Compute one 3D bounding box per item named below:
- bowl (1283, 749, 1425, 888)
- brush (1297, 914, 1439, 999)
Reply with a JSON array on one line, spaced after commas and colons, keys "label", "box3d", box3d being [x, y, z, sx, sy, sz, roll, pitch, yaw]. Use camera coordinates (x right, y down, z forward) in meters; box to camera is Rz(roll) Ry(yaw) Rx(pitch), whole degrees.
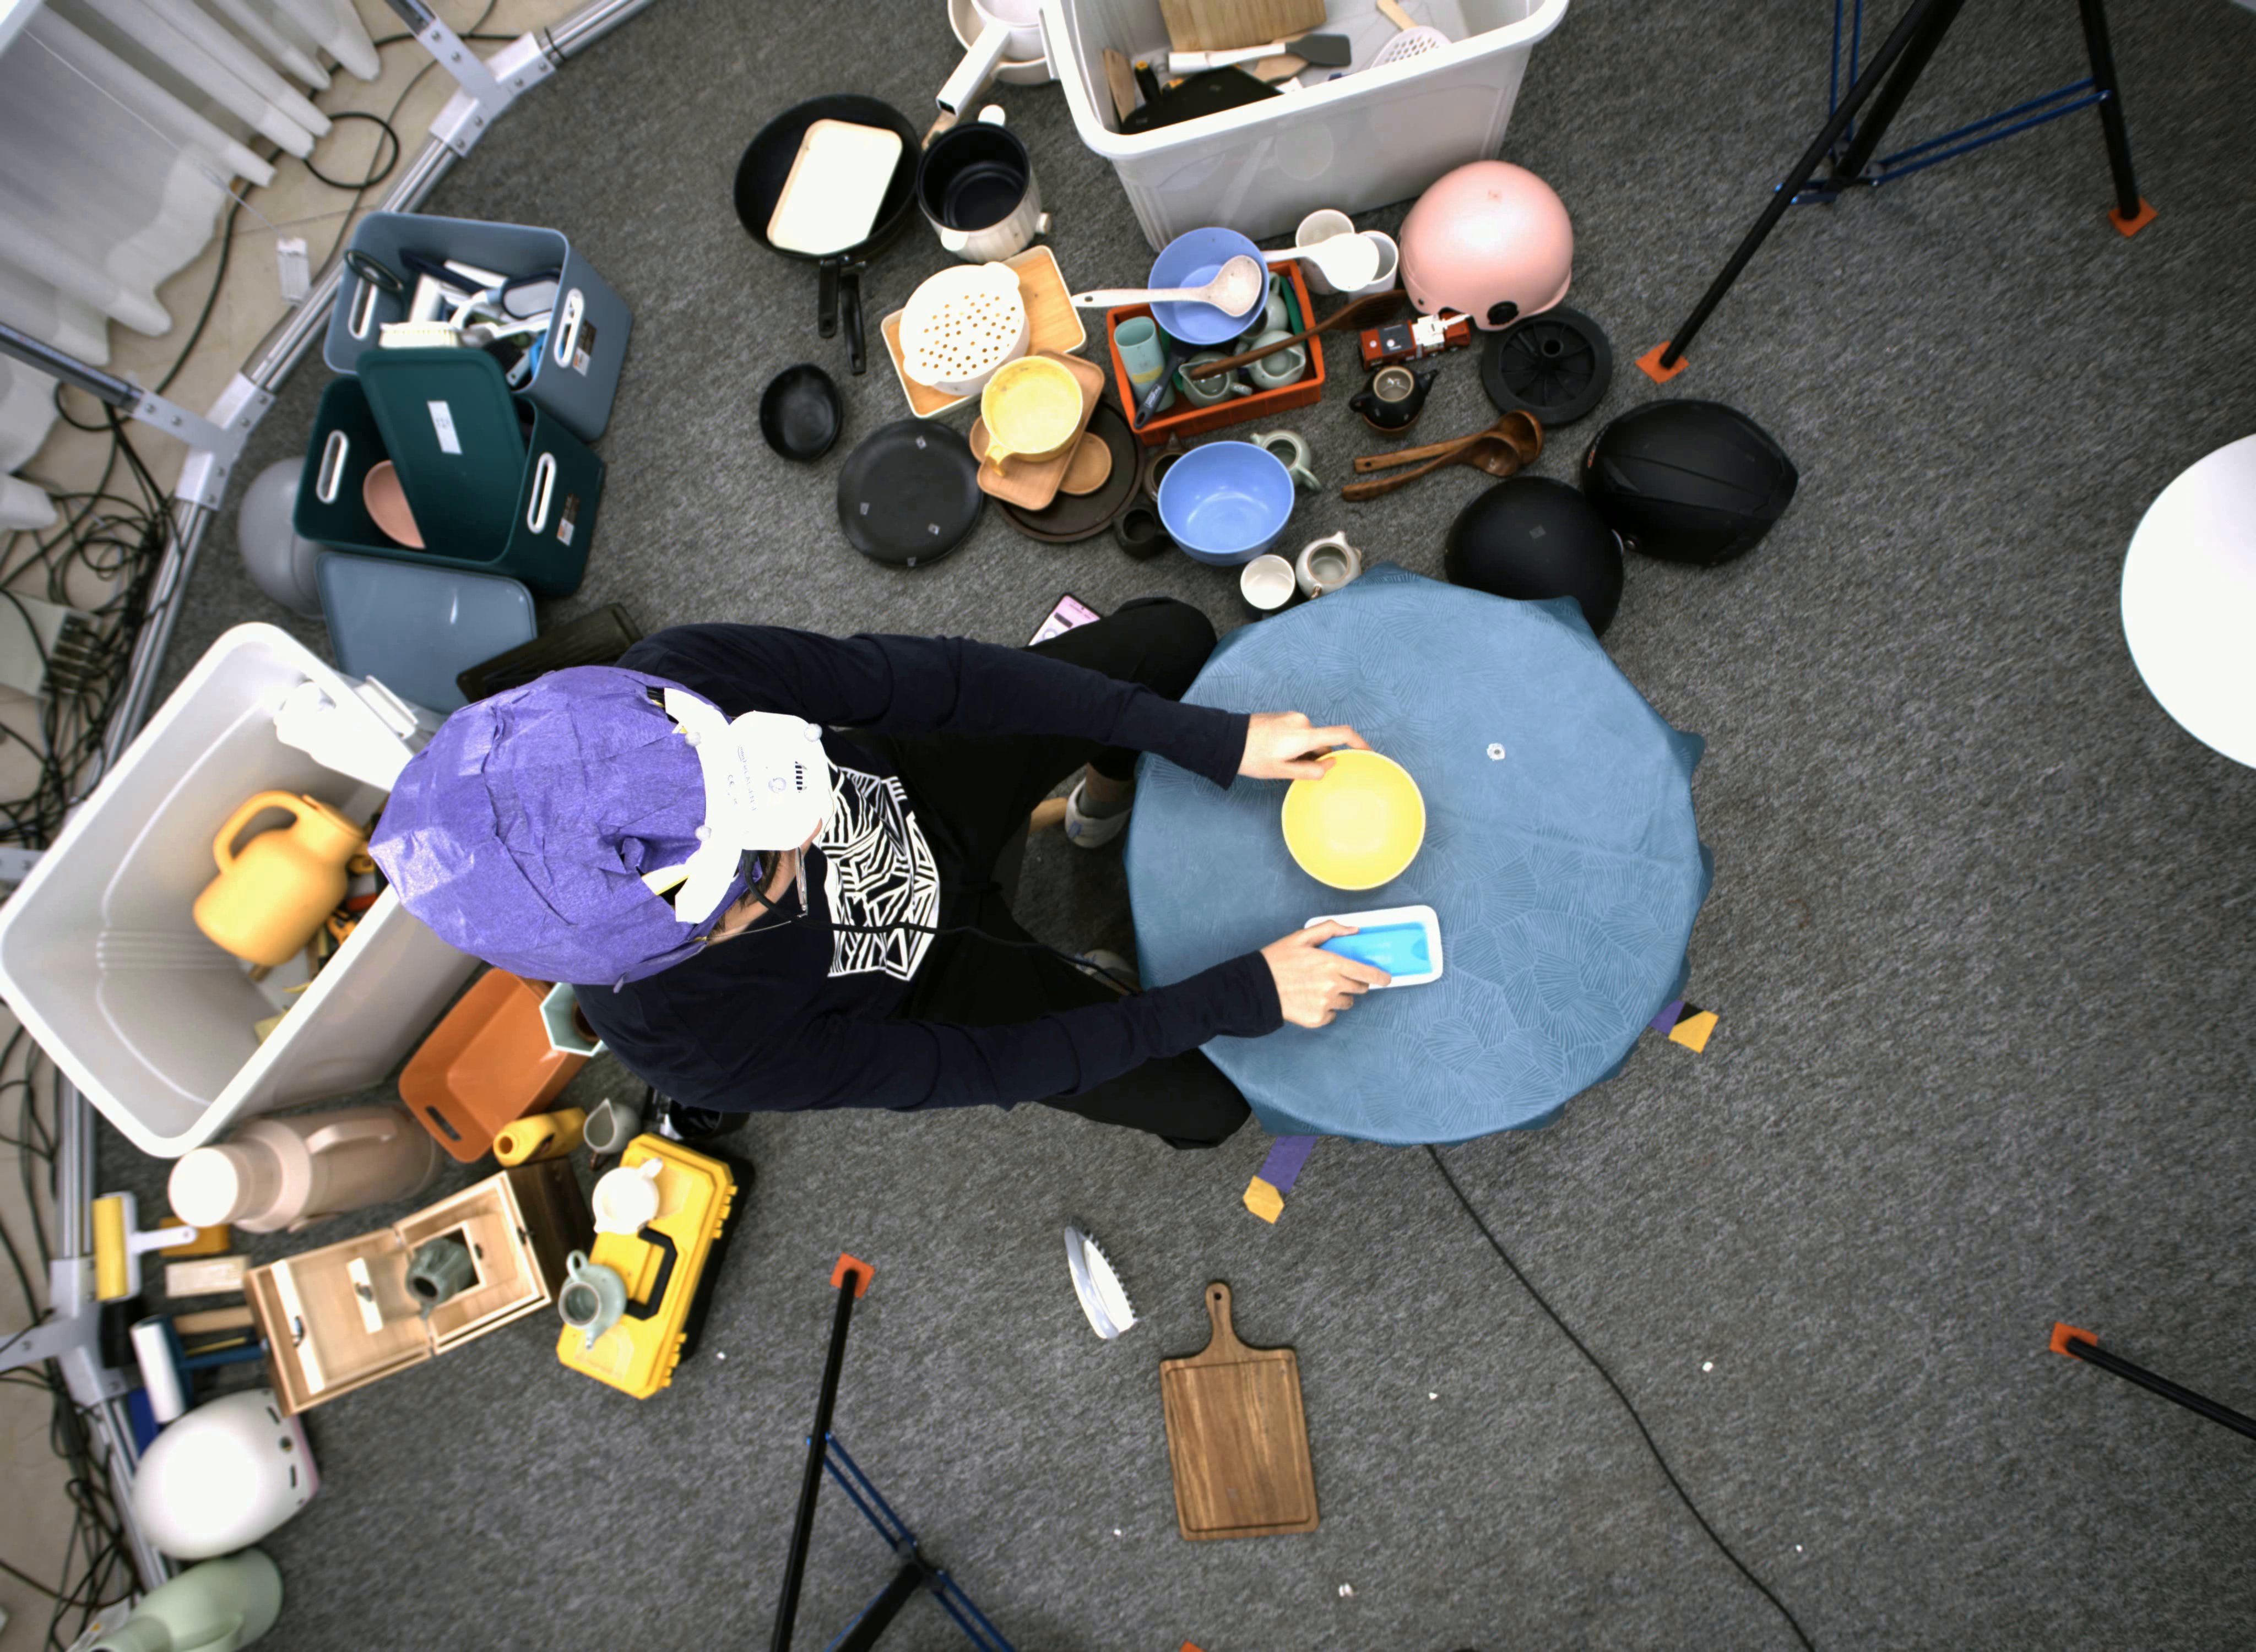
[{"label": "bowl", "box3d": [0.234, -0.011, 1.435, 0.146, 0.059, 0.146, 1, 98, 8]}, {"label": "brush", "box3d": [0.247, 0.131, 1.425, 0.144, 0.056, 0.083, -5, 84, 6]}]
